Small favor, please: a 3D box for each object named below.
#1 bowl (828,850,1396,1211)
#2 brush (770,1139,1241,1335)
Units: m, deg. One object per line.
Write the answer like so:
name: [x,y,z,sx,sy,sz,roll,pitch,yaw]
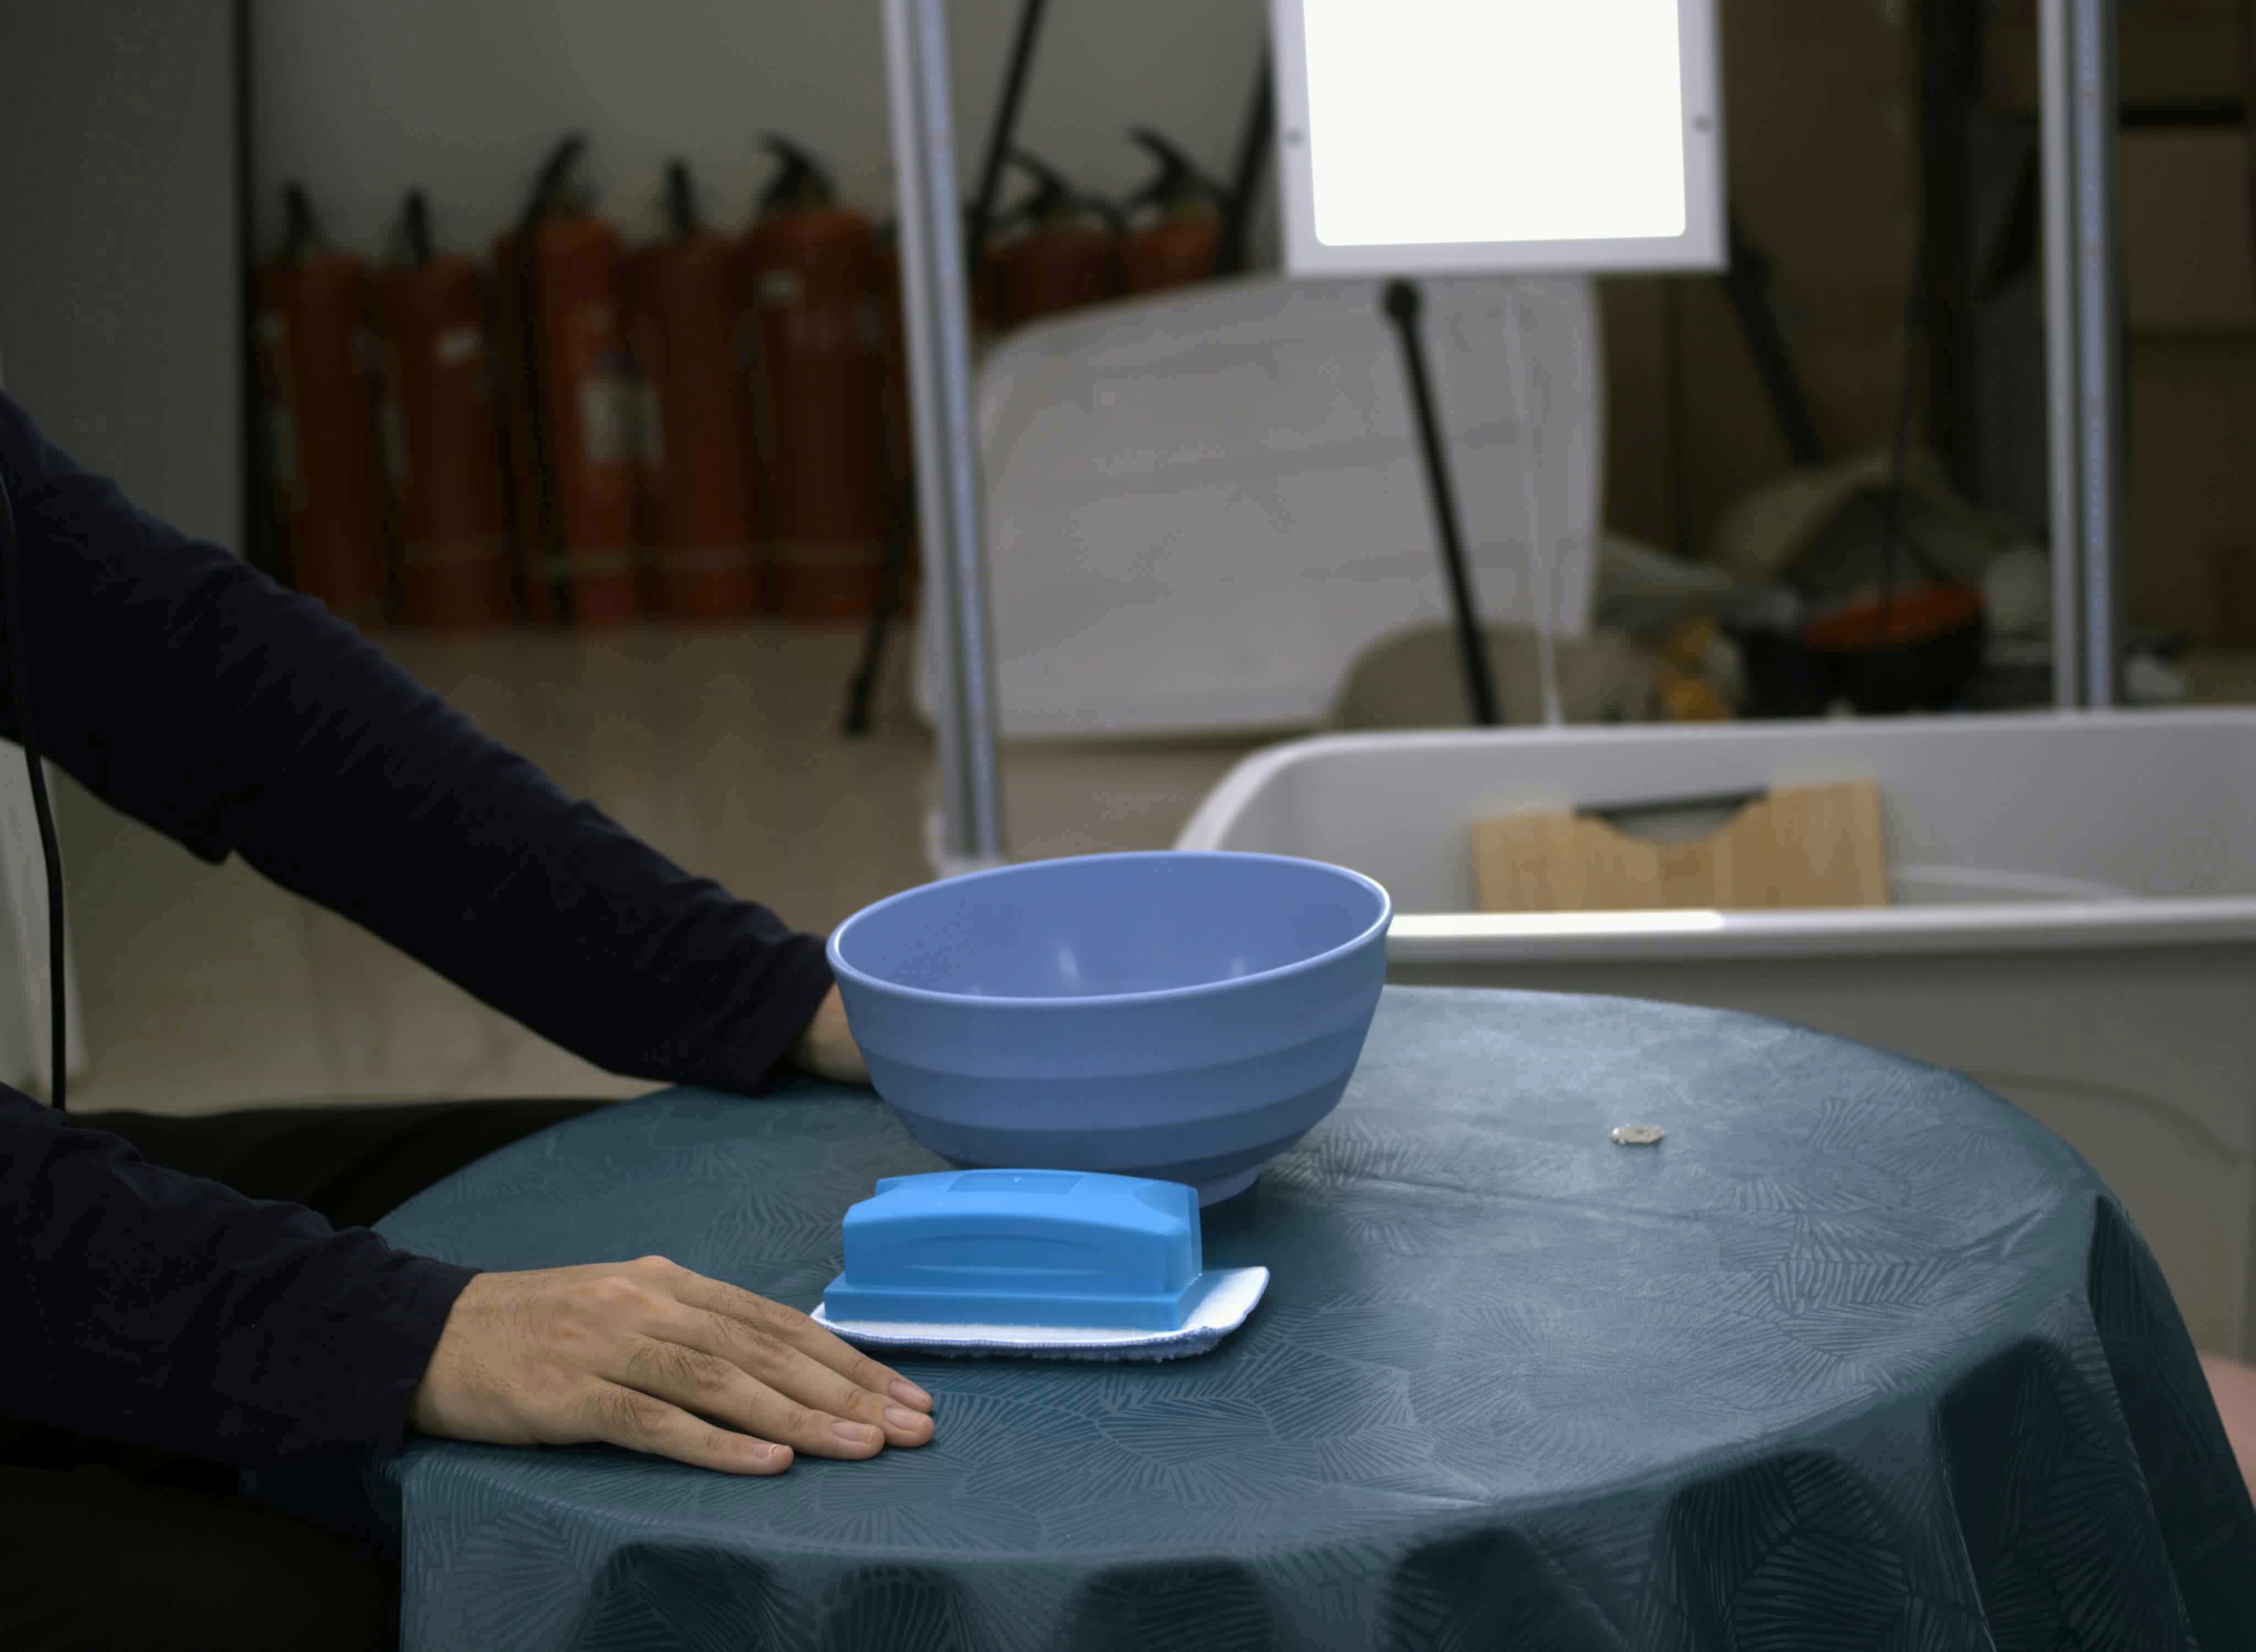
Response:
bowl: [-0.003,0.078,1.901,0.196,0.096,0.196,-4,14,0]
brush: [-0.038,0.131,1.761,0.146,0.056,0.082,4,11,20]
